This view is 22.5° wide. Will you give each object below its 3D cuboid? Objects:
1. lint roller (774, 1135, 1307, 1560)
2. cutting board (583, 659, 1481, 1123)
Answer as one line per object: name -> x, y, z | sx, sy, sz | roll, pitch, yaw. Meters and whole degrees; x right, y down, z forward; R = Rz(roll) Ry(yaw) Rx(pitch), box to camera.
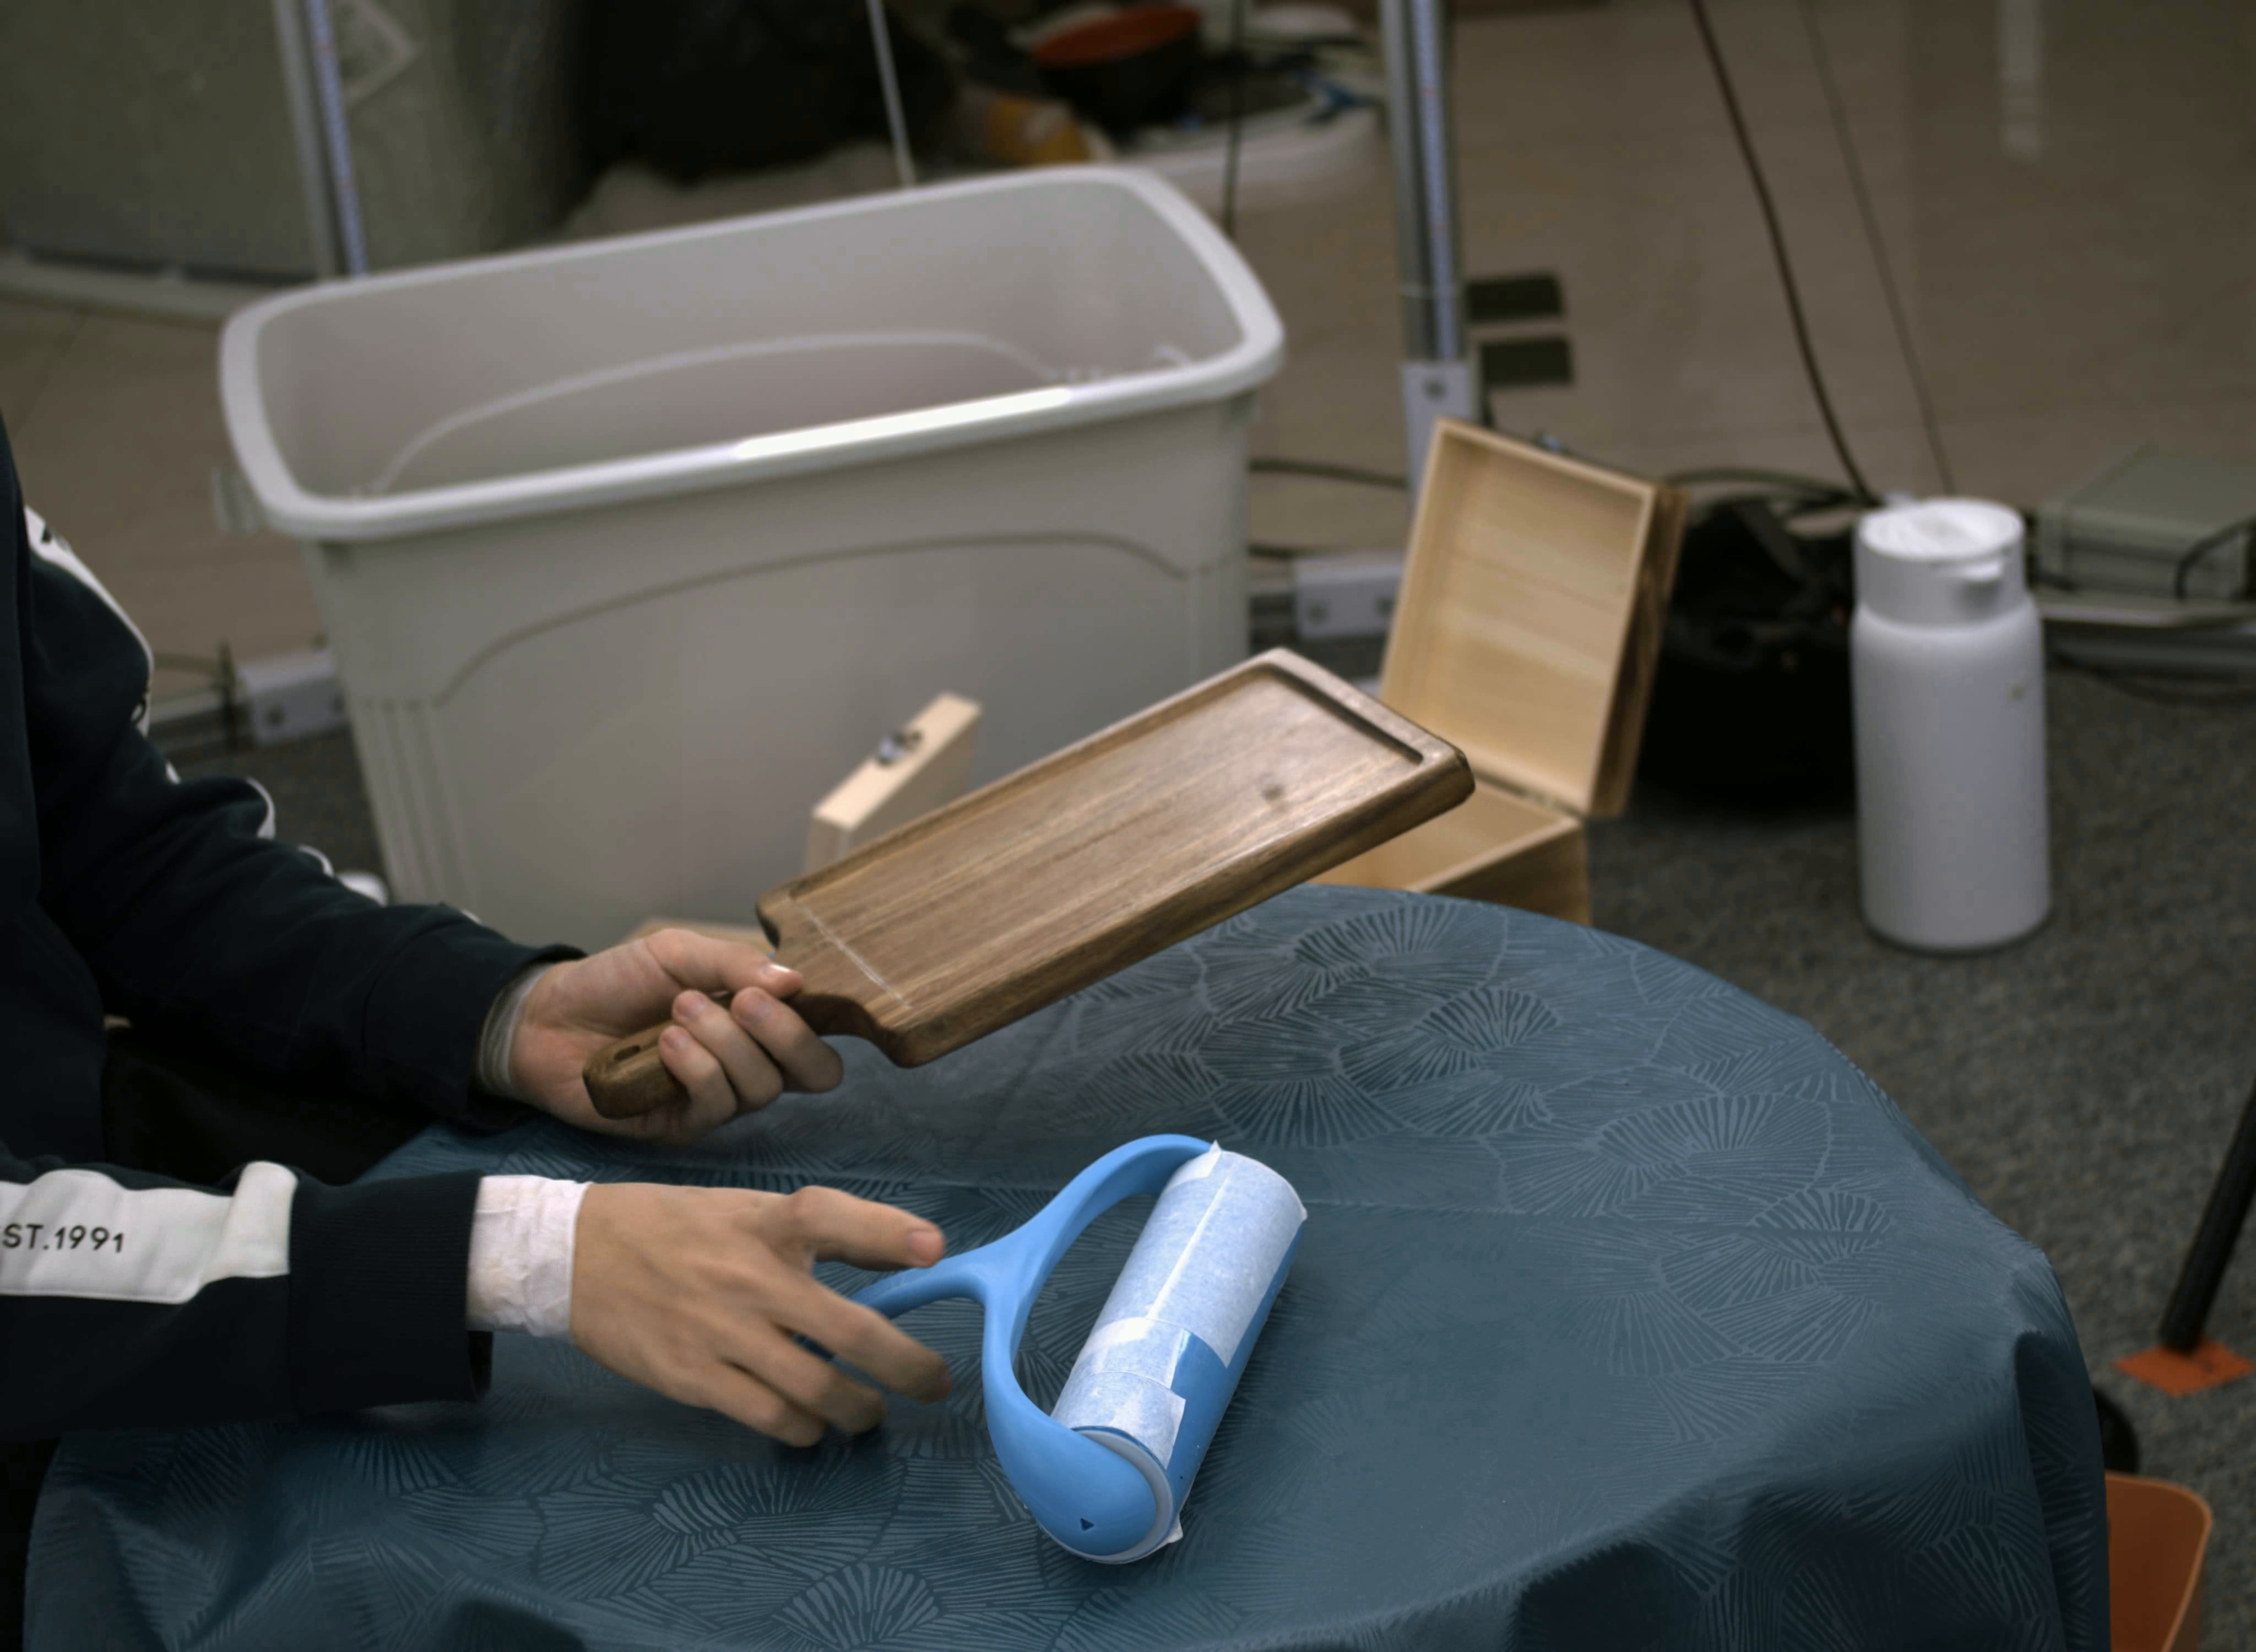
lint roller -> -0.042, 0.181, 1.996 | 0.180, 0.069, 0.225 | 1, 28, 13
cutting board -> -0.052, 0.030, 2.209 | 0.350, 0.023, 0.199 | -26, 20, -13
